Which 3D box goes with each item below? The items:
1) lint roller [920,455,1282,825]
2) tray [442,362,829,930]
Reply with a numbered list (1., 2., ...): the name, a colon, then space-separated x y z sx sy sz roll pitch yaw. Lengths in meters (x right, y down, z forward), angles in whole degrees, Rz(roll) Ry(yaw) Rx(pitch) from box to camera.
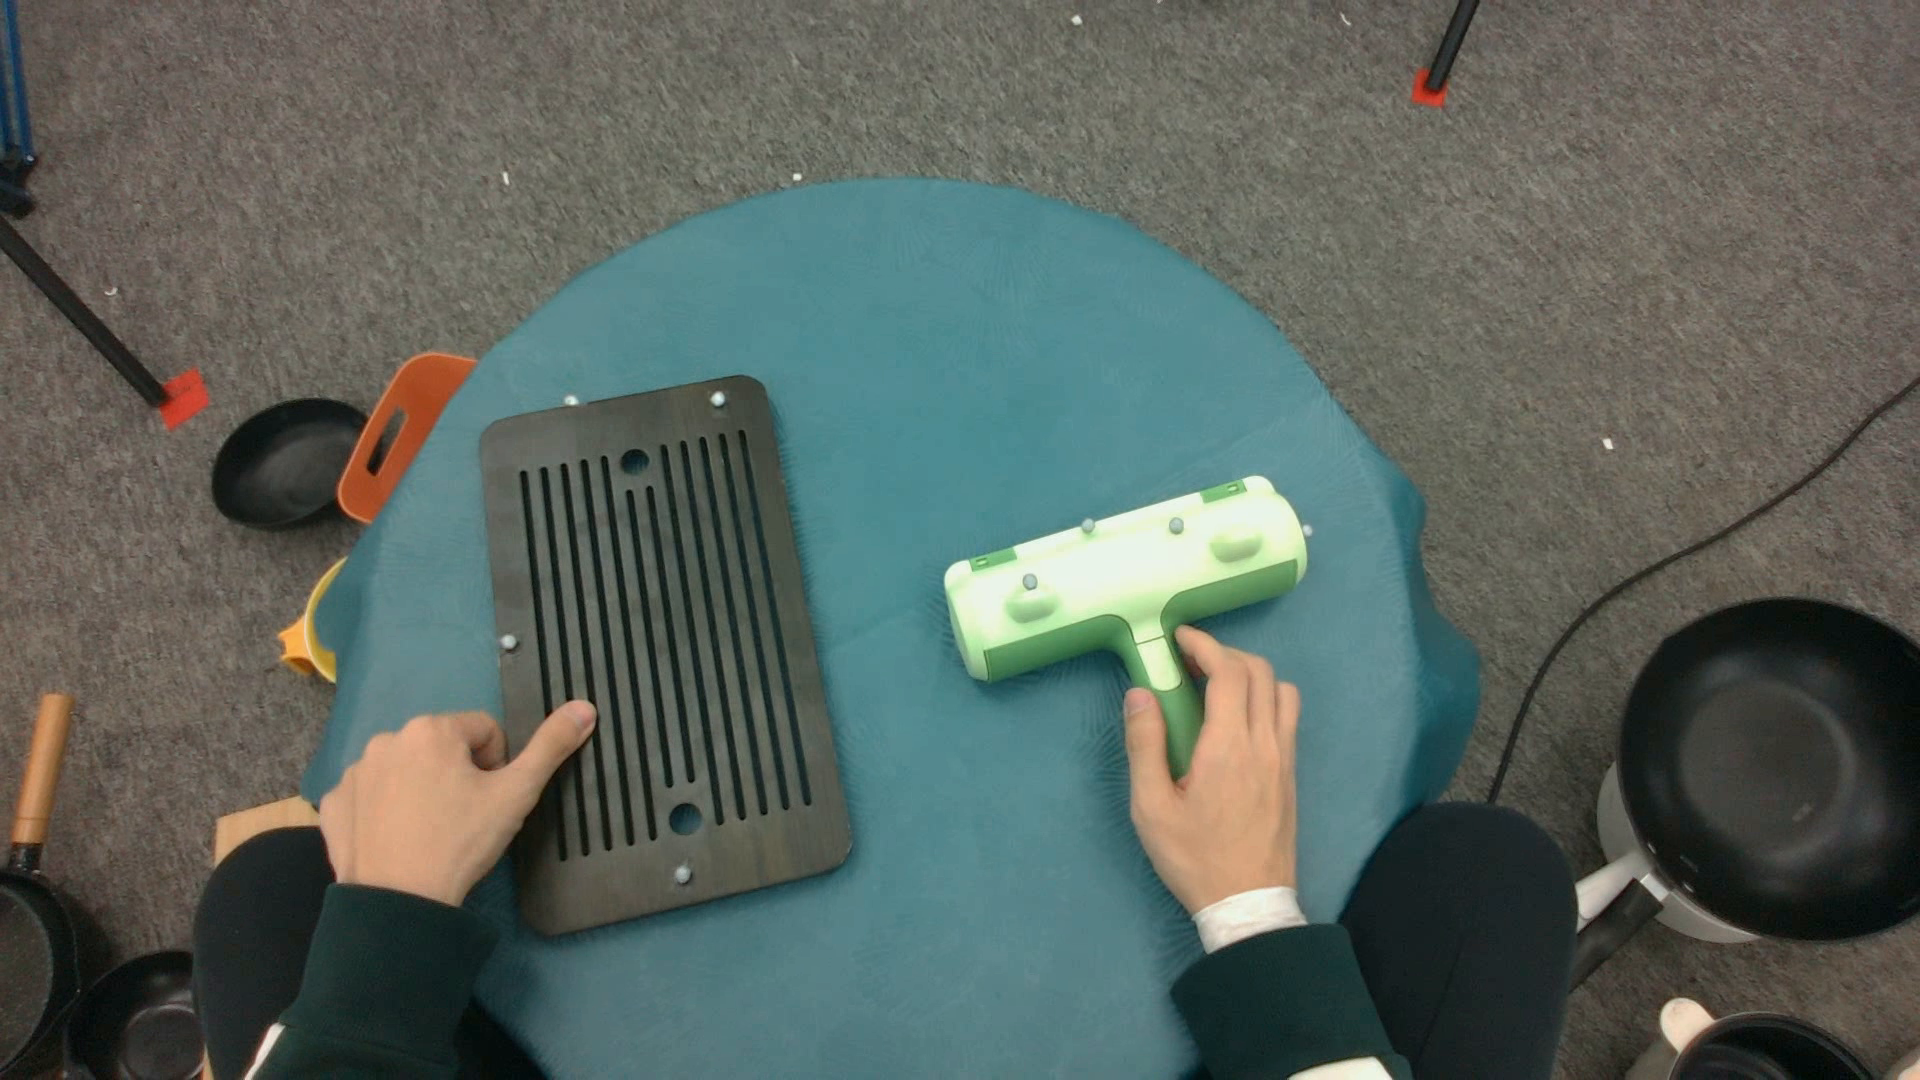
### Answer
1. lint roller: 0.096 0.056 0.728 0.199 0.082 0.184 -17 64 -8
2. tray: -0.185 0.047 0.764 0.170 0.018 0.307 -13 67 -6
